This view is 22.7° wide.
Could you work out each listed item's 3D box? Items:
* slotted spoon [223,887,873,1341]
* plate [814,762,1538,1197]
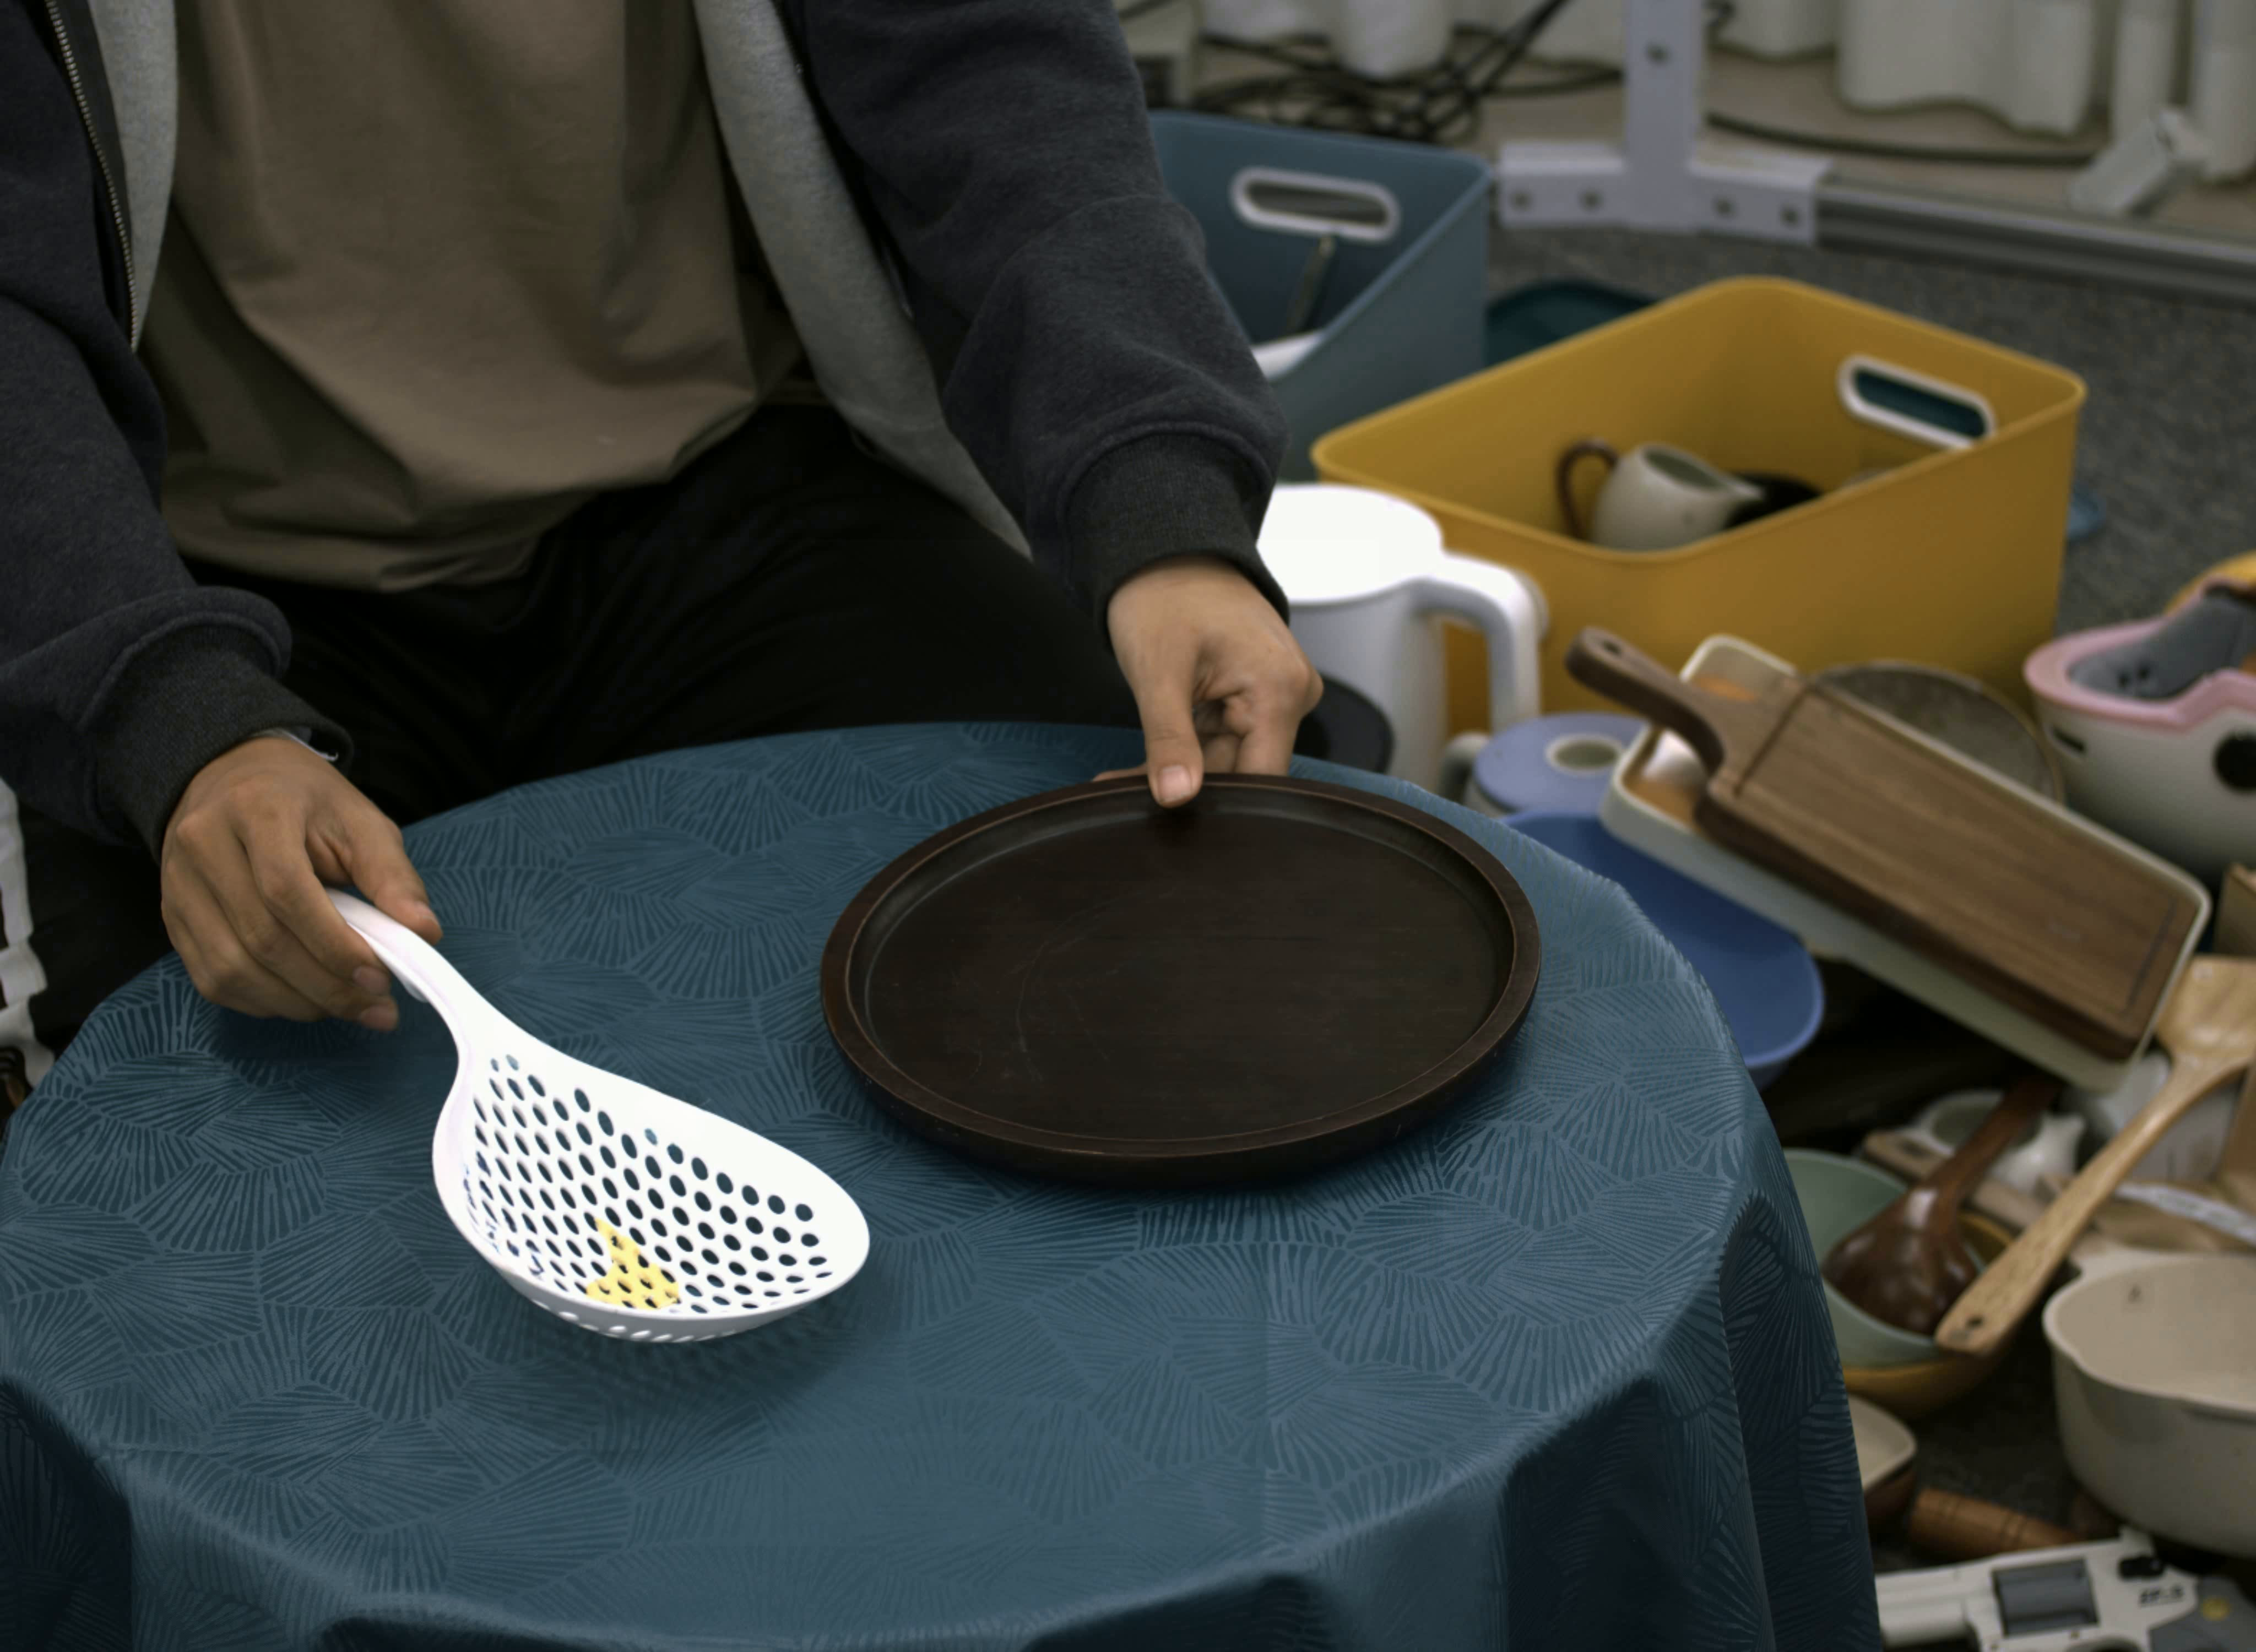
[{"bbox_3d":[-0.213,0.085,1.877,0.137,0.050,0.350,-8,33,-34],"label":"slotted spoon"},{"bbox_3d":[0.017,0.054,1.956,0.253,0.028,0.259,-3,31,2],"label":"plate"}]
